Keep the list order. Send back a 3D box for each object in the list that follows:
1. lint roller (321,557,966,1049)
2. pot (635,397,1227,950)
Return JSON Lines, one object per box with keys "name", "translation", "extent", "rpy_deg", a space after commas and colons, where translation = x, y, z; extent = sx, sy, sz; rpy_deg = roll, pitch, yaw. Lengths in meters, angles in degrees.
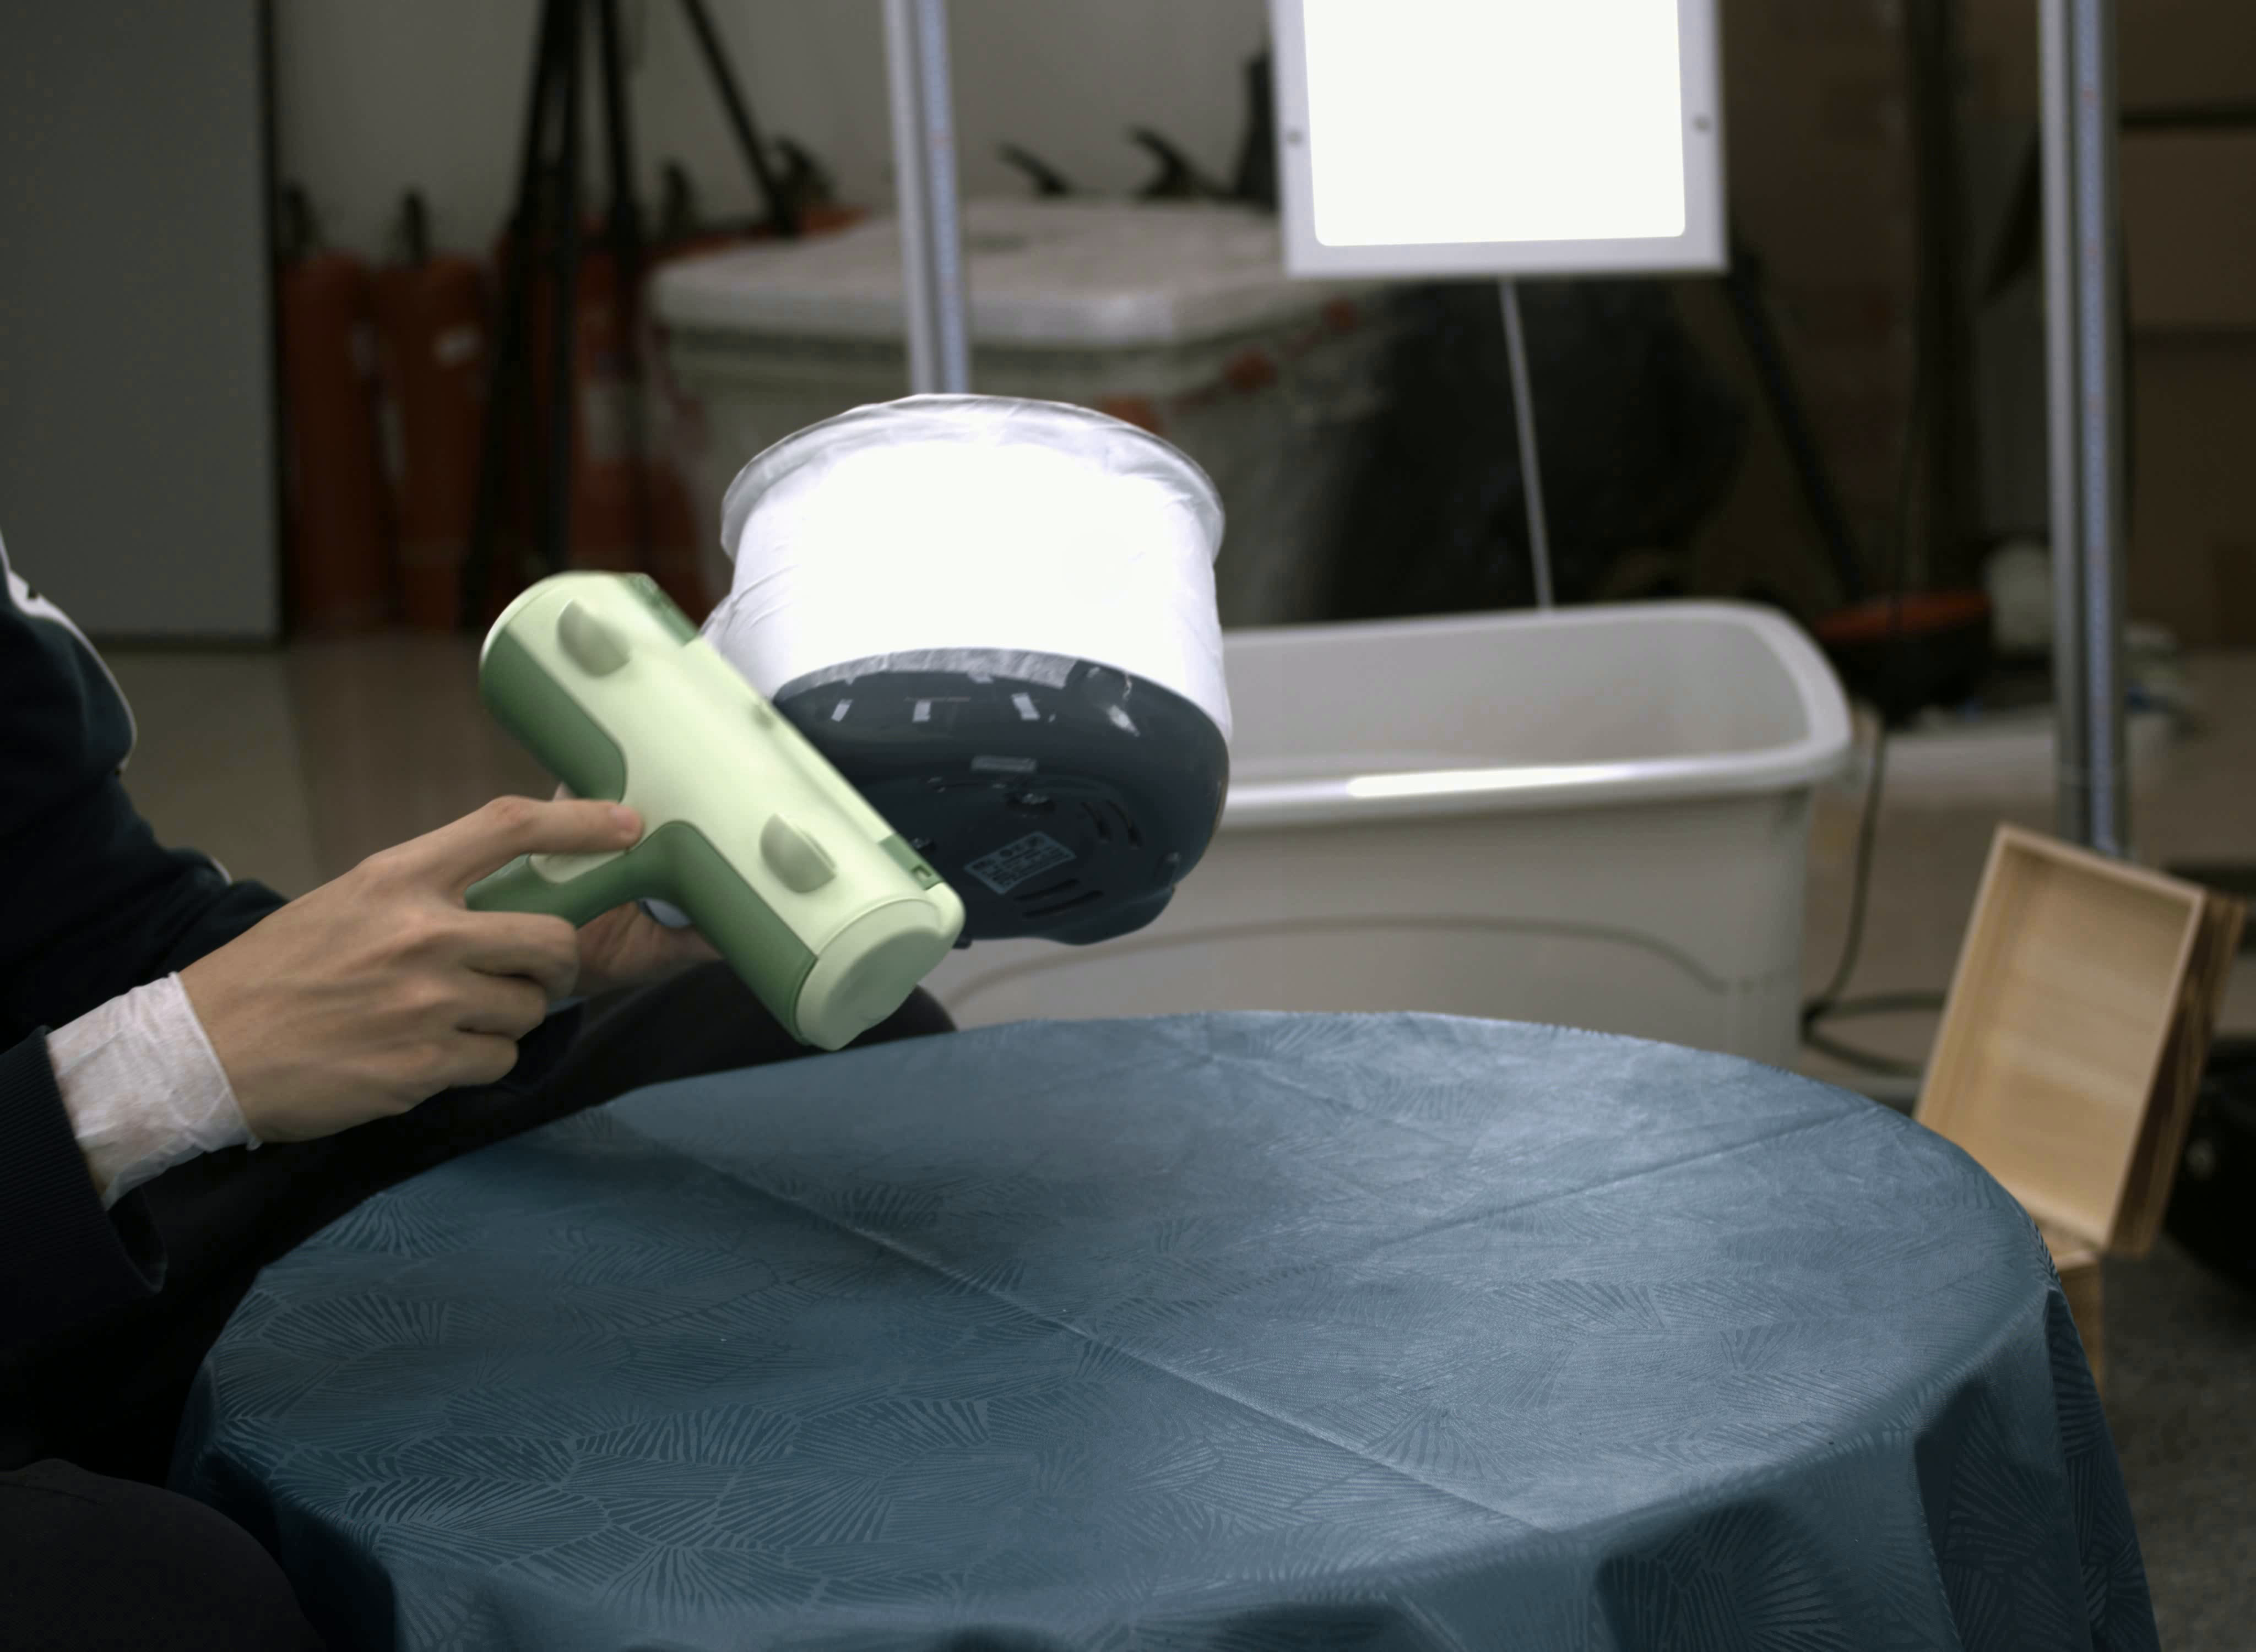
{"name": "lint roller", "translation": [-0.178, 0.006, 1.764], "extent": [0.179, 0.083, 0.201], "rpy_deg": [-26, 55, -26]}
{"name": "pot", "translation": [-0.077, -0.041, 1.906], "extent": [0.238, 0.136, 0.175], "rpy_deg": [-17, -31, 33]}
